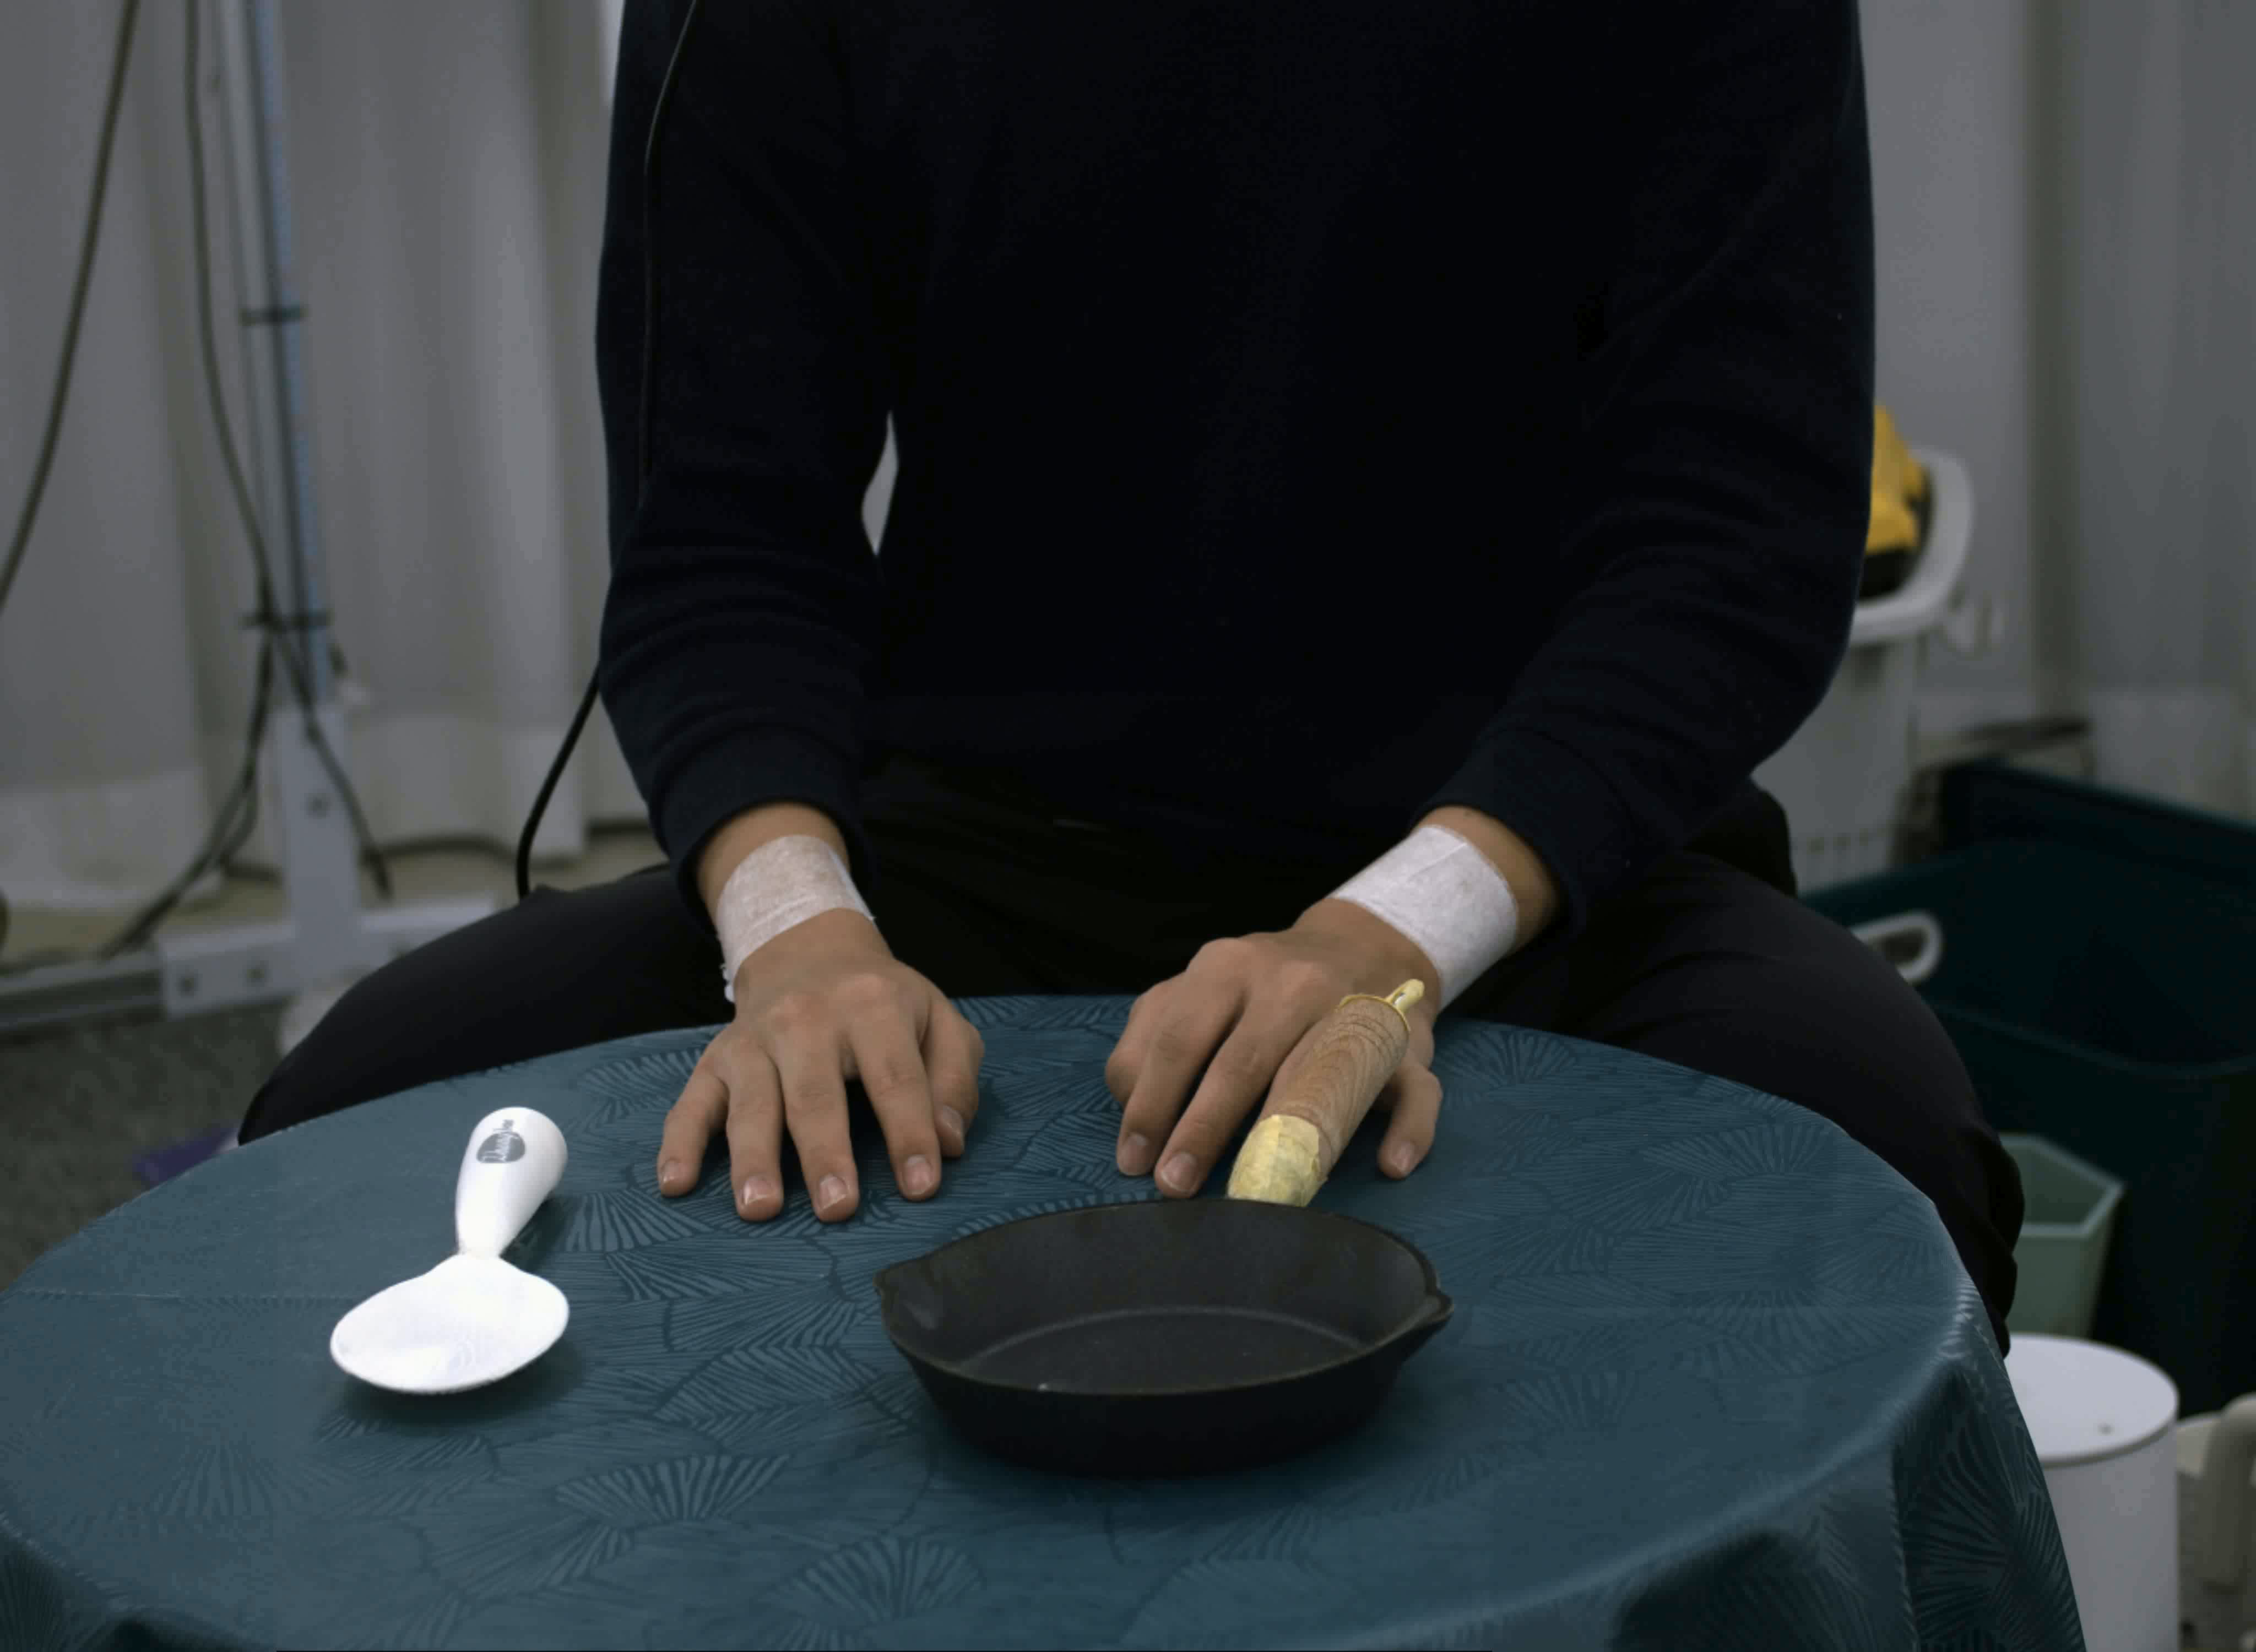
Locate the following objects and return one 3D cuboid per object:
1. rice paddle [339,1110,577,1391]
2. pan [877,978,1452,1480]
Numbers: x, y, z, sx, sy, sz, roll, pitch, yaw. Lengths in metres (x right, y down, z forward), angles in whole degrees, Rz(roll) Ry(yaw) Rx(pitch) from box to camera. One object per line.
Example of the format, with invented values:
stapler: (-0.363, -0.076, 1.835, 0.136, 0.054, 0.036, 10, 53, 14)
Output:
rice paddle: (-0.194, 0.130, 1.642, 0.068, 0.029, 0.206, -5, 14, 1)
pan: (0.038, 0.115, 1.610, 0.169, 0.049, 0.325, 2, 17, 20)
